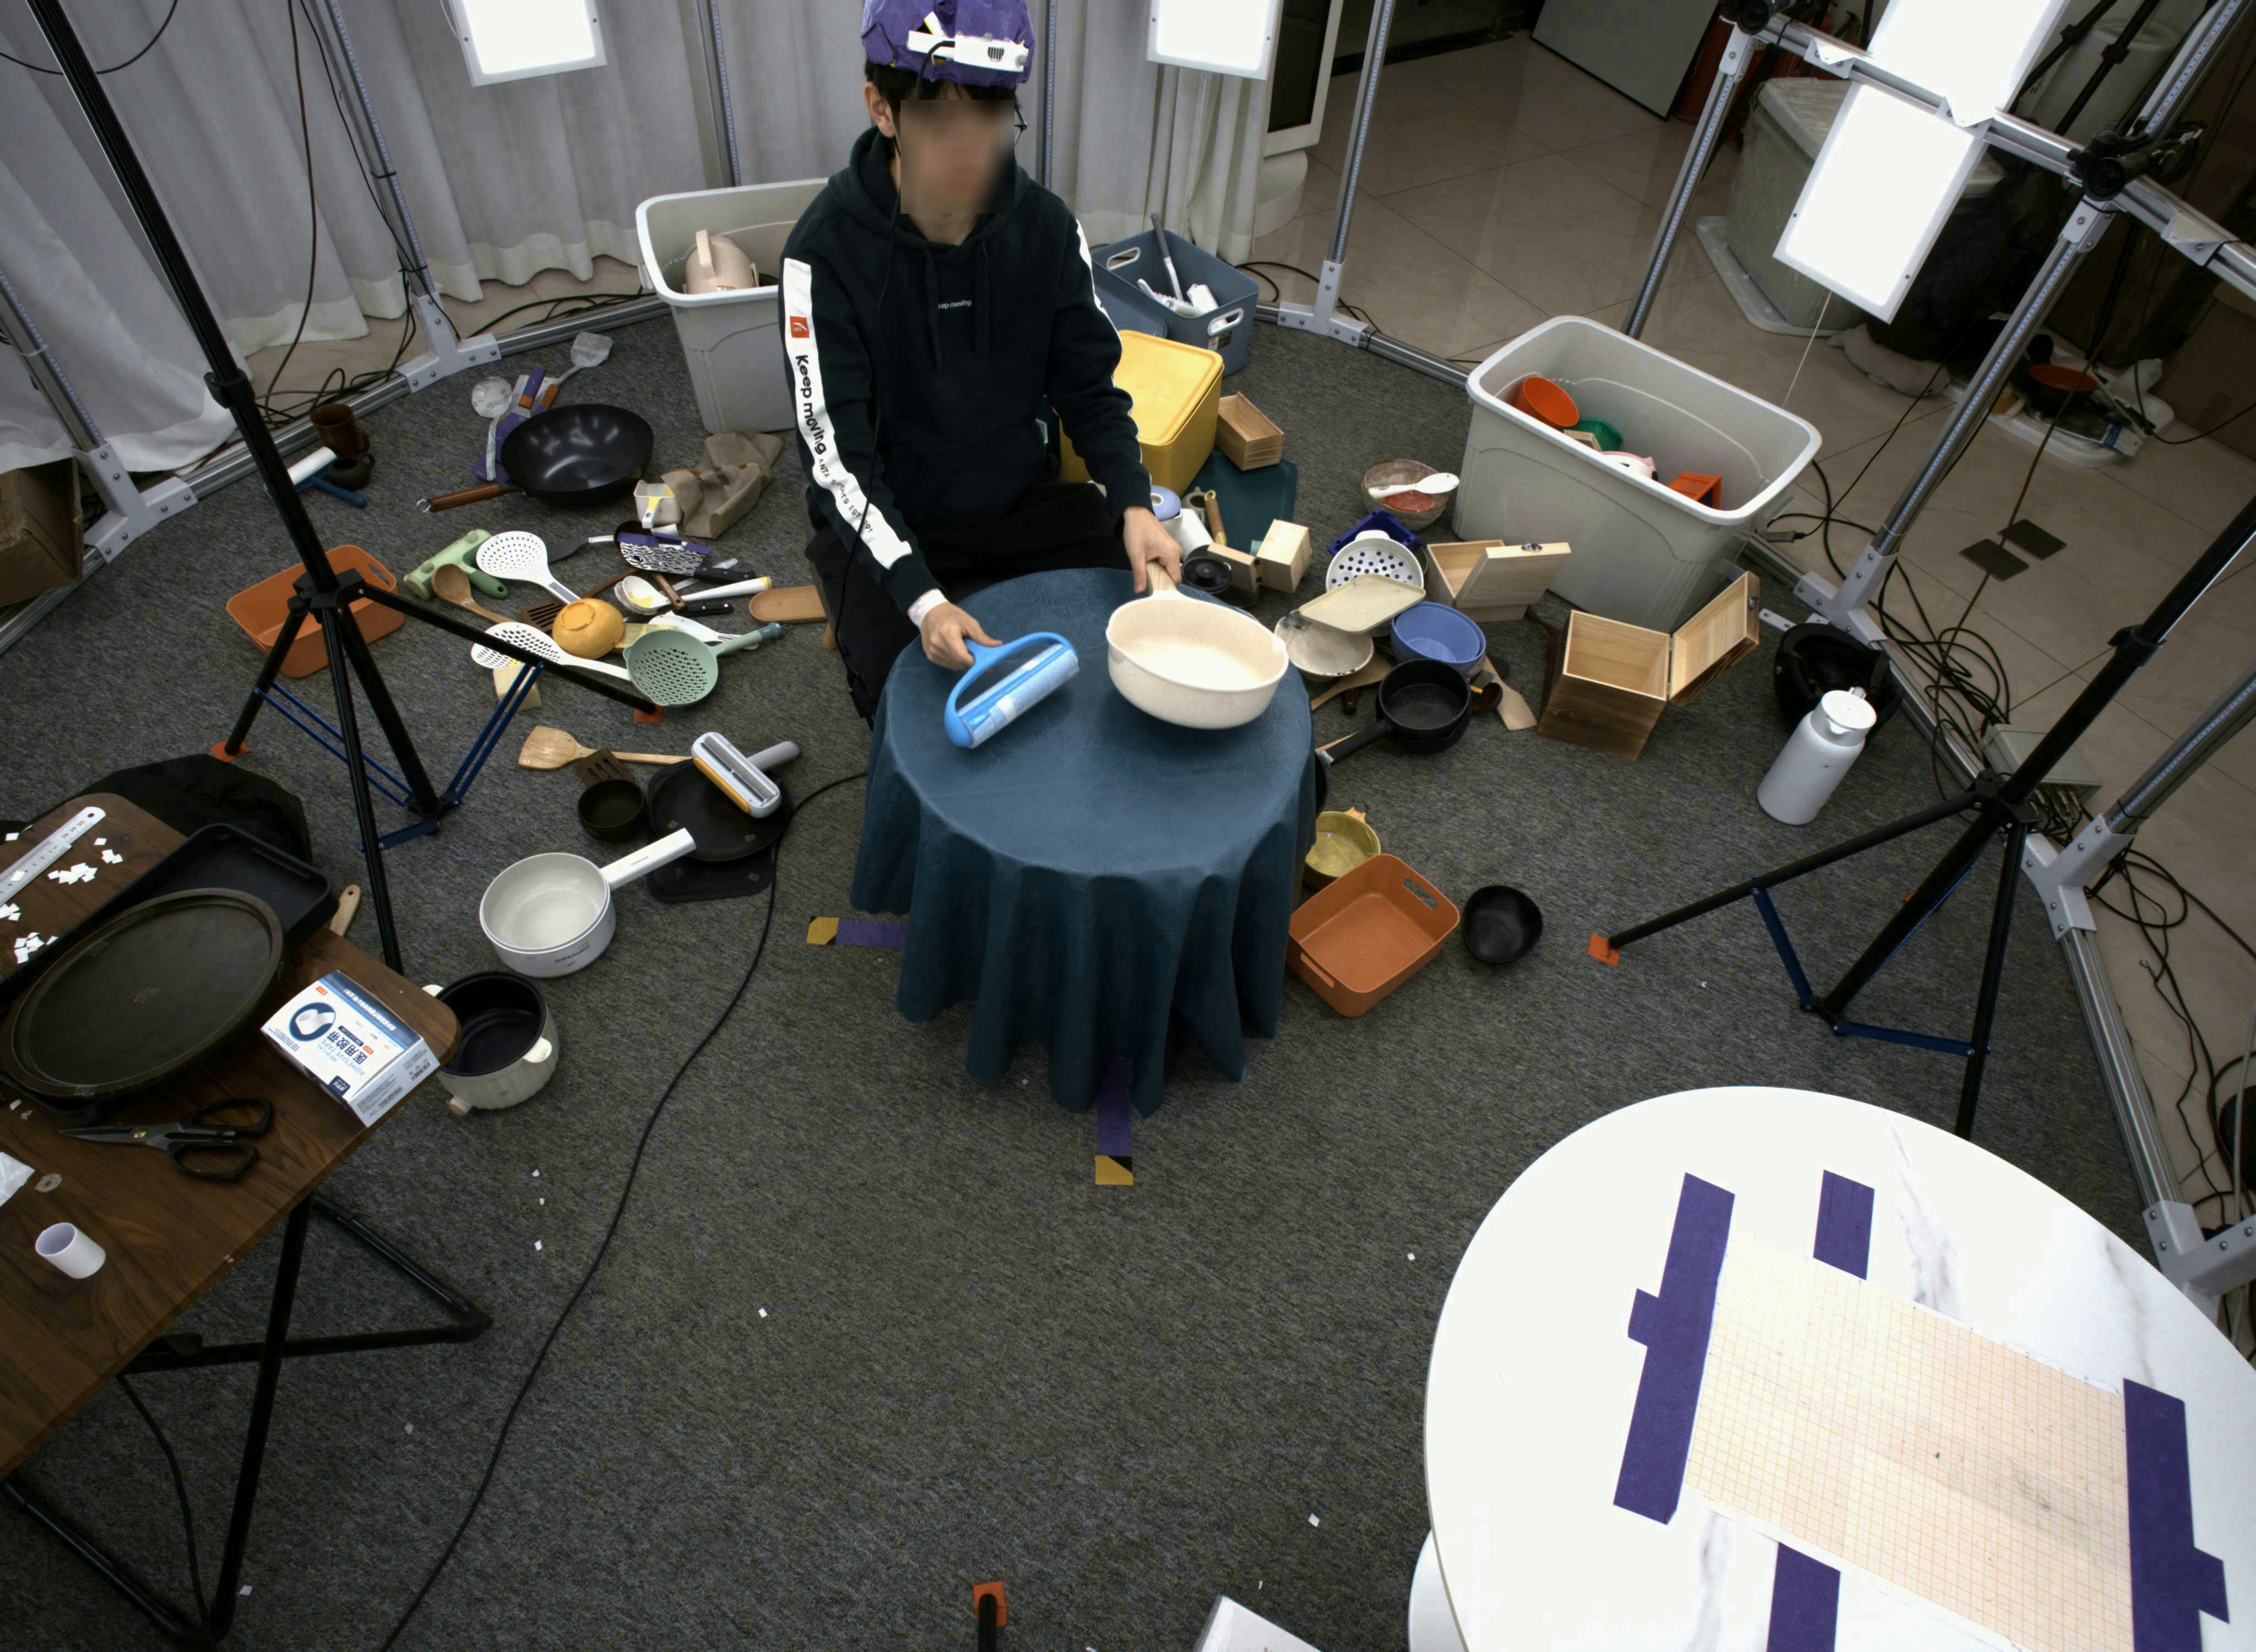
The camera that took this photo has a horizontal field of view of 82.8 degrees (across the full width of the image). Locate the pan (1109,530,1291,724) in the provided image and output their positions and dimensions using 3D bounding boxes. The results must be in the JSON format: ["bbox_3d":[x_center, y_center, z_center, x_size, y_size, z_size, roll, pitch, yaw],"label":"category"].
[{"bbox_3d":[0.066,-0.287,1.841,0.262,0.100,0.445,-3,37,-20],"label":"pan"}]

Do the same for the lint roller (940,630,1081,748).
[{"bbox_3d":[-0.195,-0.218,1.773,0.182,0.066,0.231,37,61,19],"label":"lint roller"}]
